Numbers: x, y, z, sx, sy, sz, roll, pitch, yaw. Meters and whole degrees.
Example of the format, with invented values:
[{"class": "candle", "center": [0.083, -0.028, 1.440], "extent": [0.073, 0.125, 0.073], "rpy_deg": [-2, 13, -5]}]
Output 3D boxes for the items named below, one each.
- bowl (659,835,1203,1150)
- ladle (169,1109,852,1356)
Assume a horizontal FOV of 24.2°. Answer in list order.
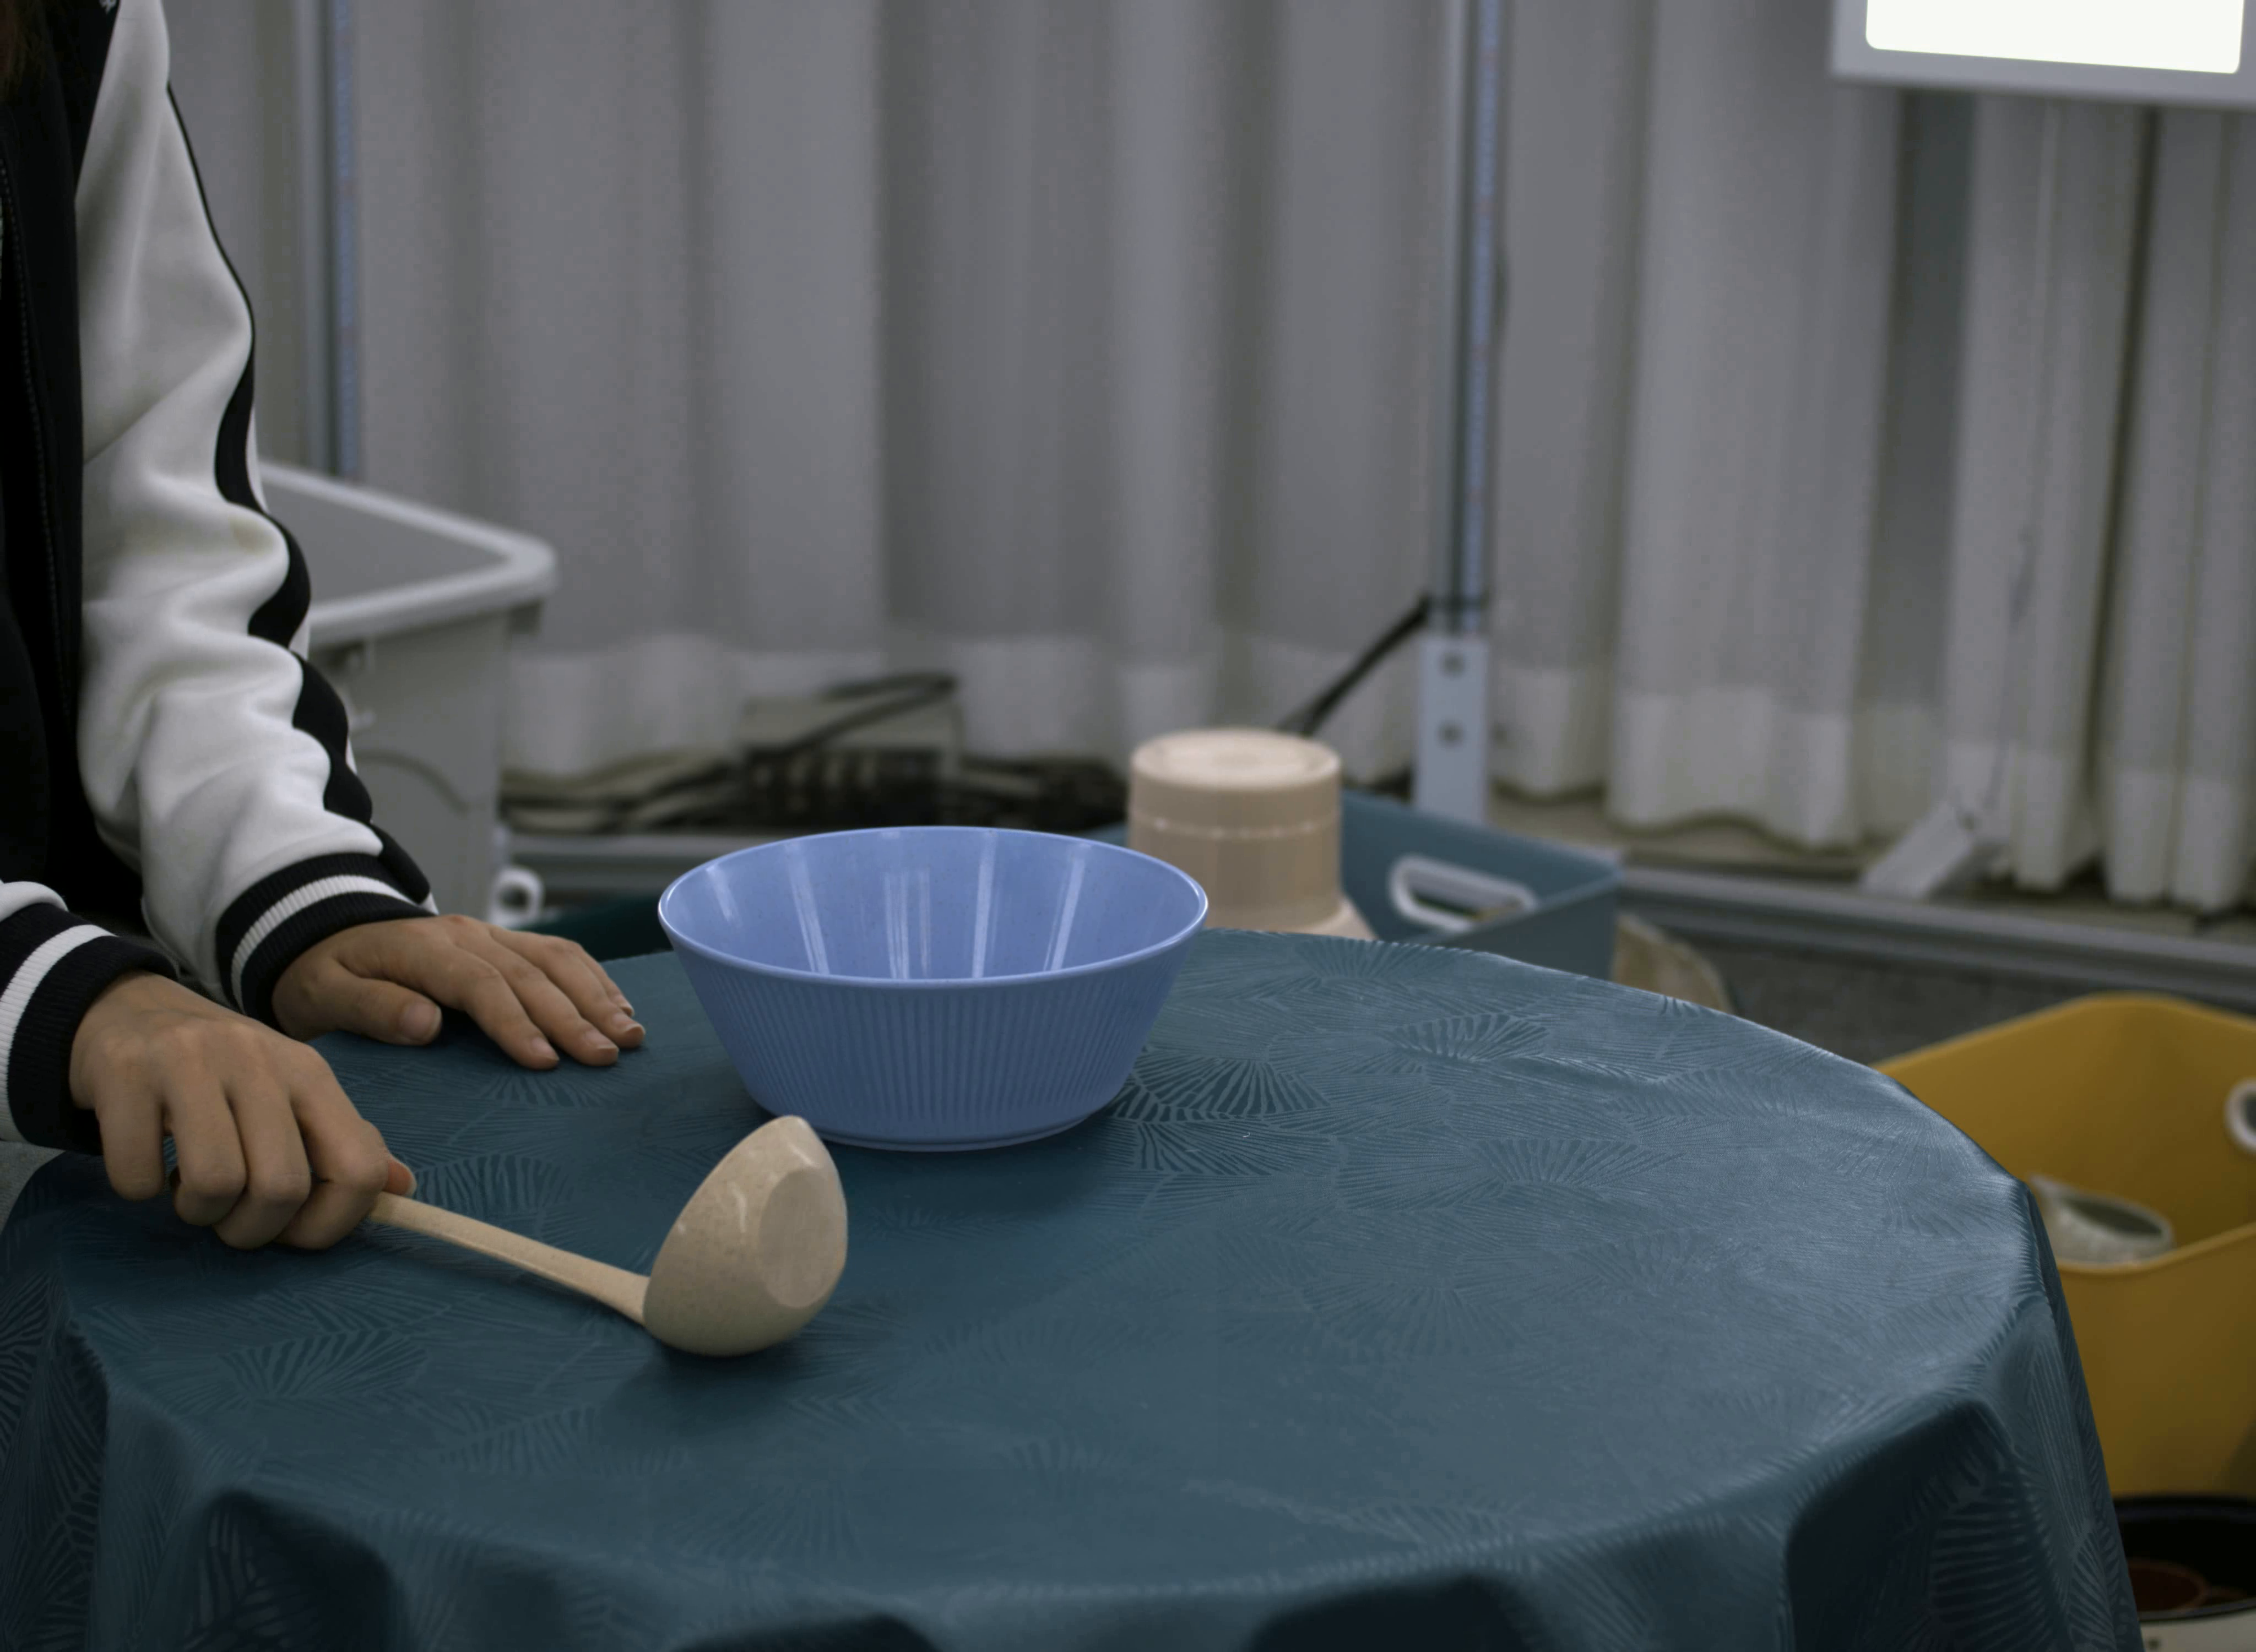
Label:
[{"class": "bowl", "center": [-0.063, 0.055, 1.693], "extent": [0.175, 0.071, 0.175], "rpy_deg": [1, 15, 0]}, {"class": "ladle", "center": [-0.191, 0.099, 1.528], "extent": [0.251, 0.073, 0.072], "rpy_deg": [10, 29, 33]}]
